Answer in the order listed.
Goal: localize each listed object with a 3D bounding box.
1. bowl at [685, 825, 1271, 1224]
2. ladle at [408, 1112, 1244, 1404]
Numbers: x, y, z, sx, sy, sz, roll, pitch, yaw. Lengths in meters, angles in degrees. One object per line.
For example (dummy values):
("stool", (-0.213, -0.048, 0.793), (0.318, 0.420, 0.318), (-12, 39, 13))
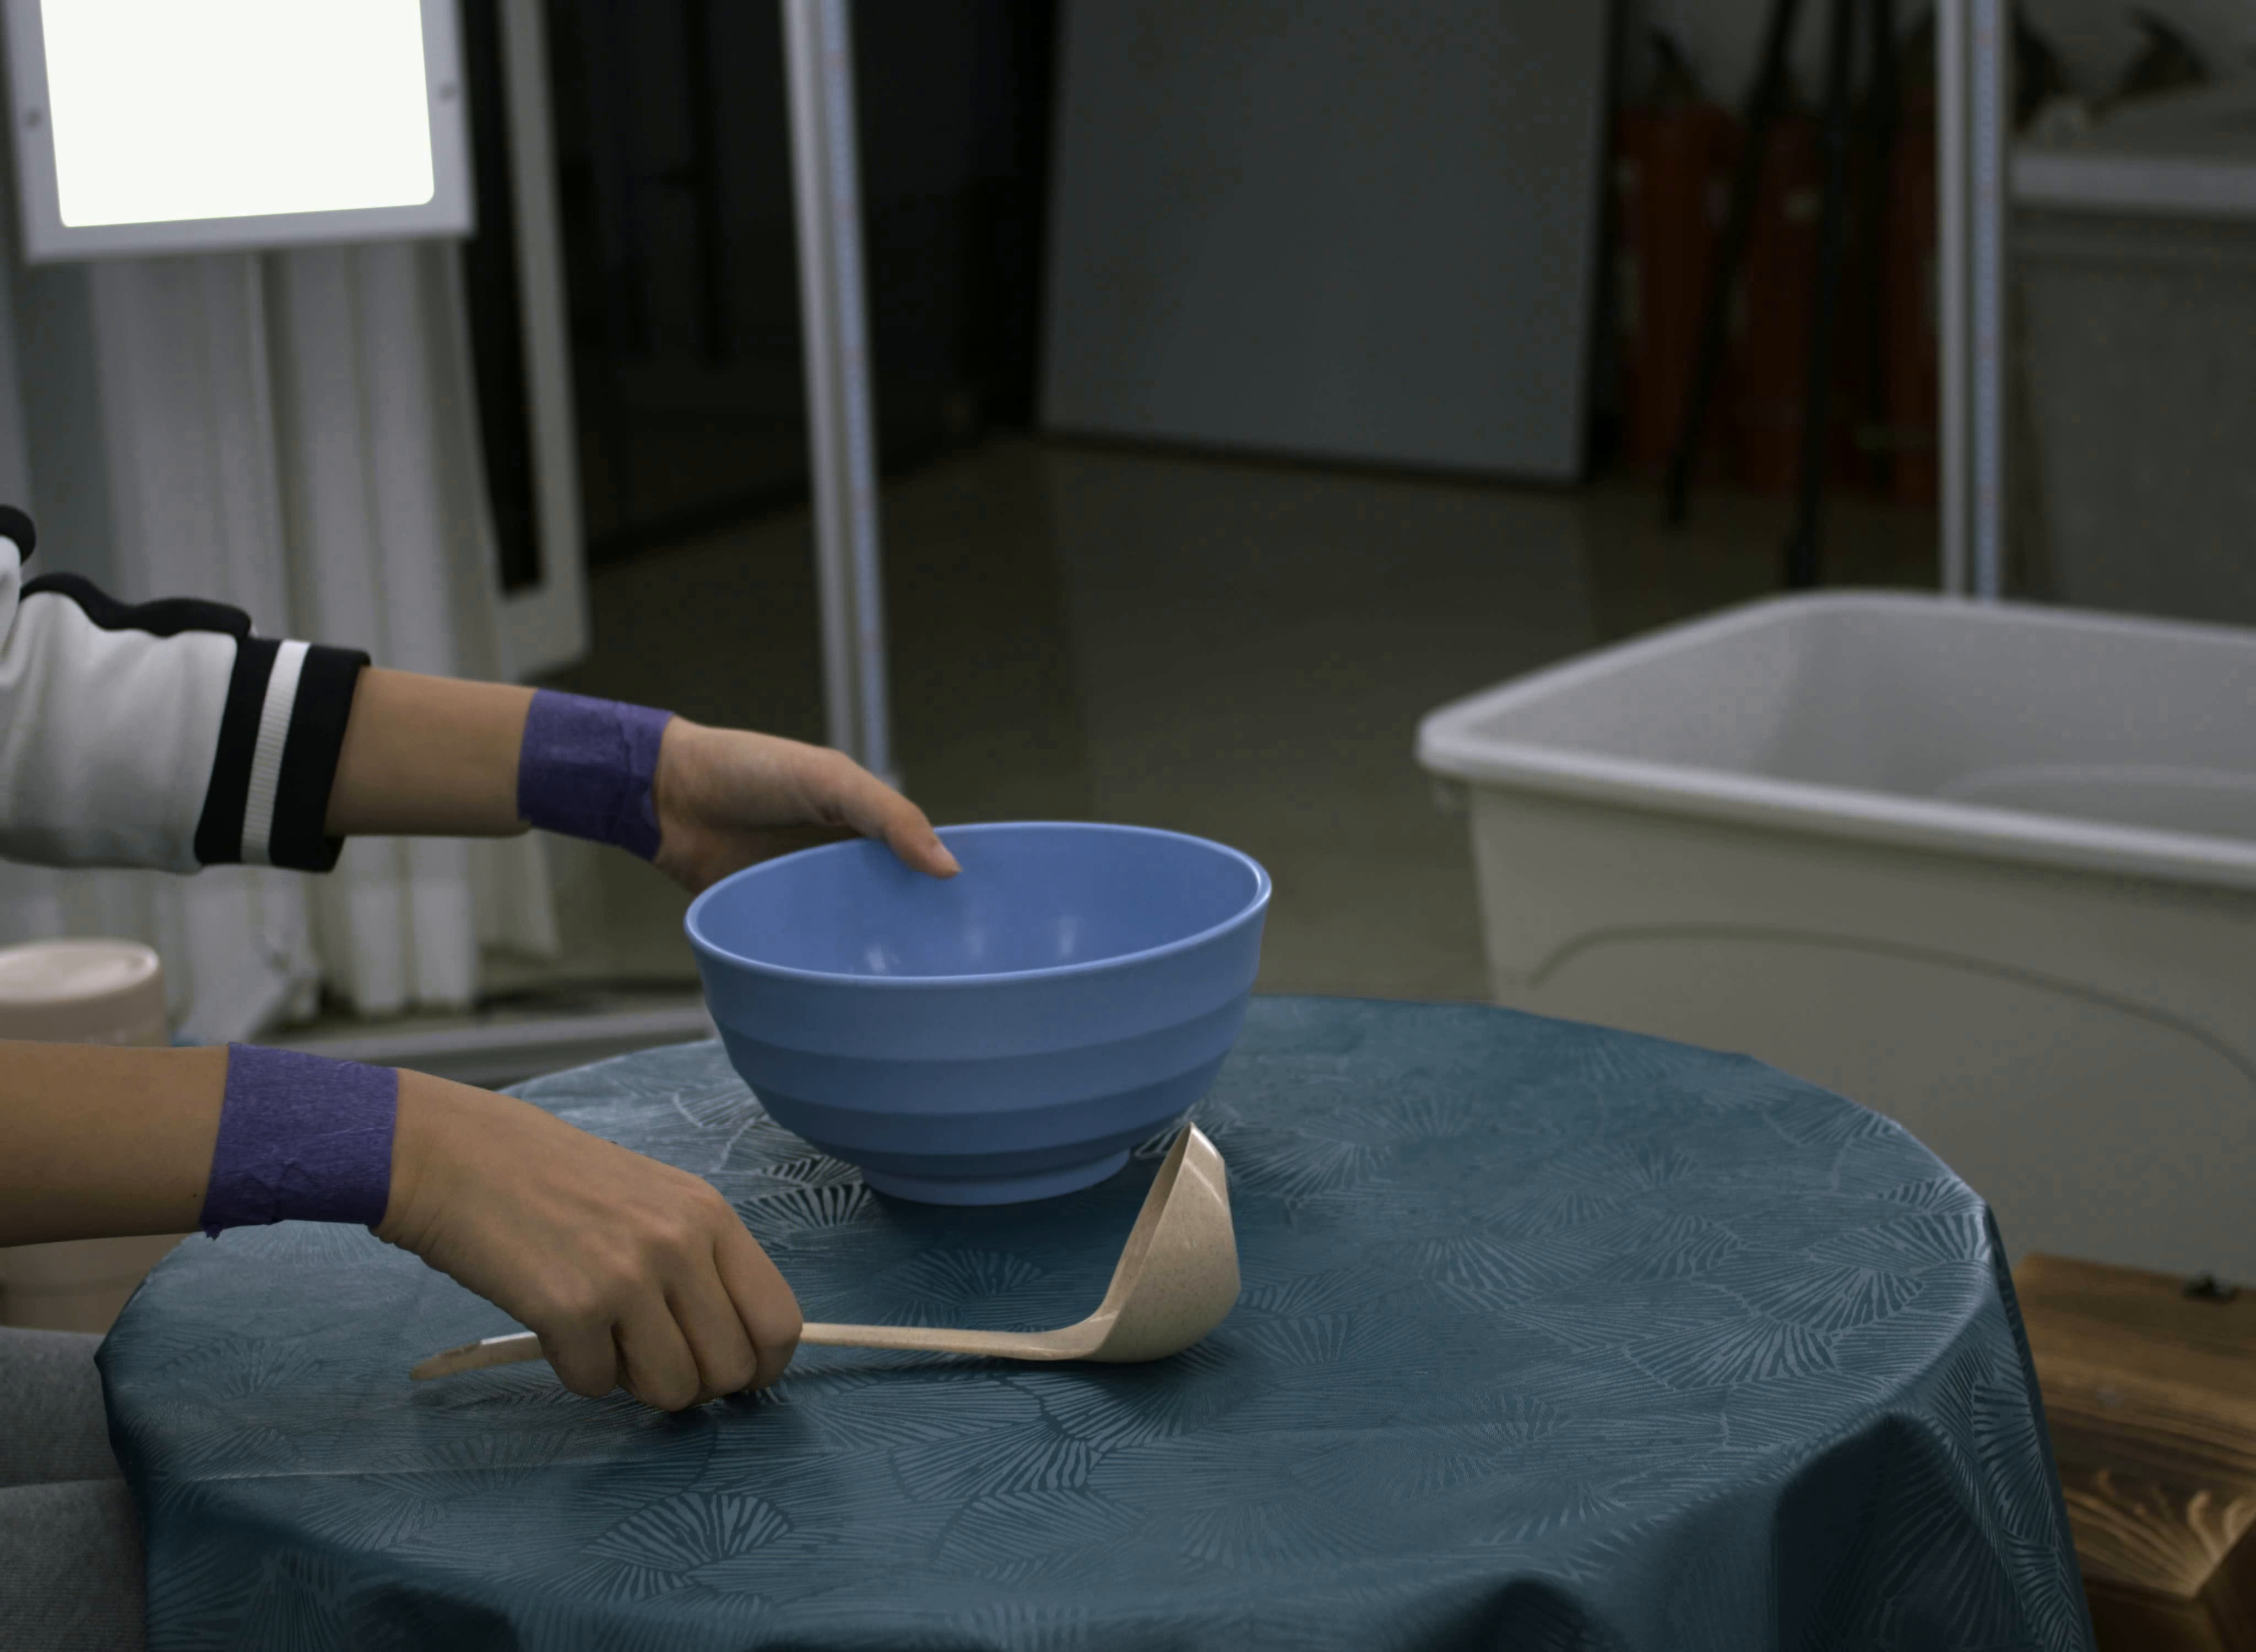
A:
("bowl", (-0.047, 0.072, 1.798), (0.194, 0.096, 0.197), (-3, 16, 0))
("ladle", (-0.091, 0.128, 1.609), (0.251, 0.073, 0.072), (-3, 11, 1))
